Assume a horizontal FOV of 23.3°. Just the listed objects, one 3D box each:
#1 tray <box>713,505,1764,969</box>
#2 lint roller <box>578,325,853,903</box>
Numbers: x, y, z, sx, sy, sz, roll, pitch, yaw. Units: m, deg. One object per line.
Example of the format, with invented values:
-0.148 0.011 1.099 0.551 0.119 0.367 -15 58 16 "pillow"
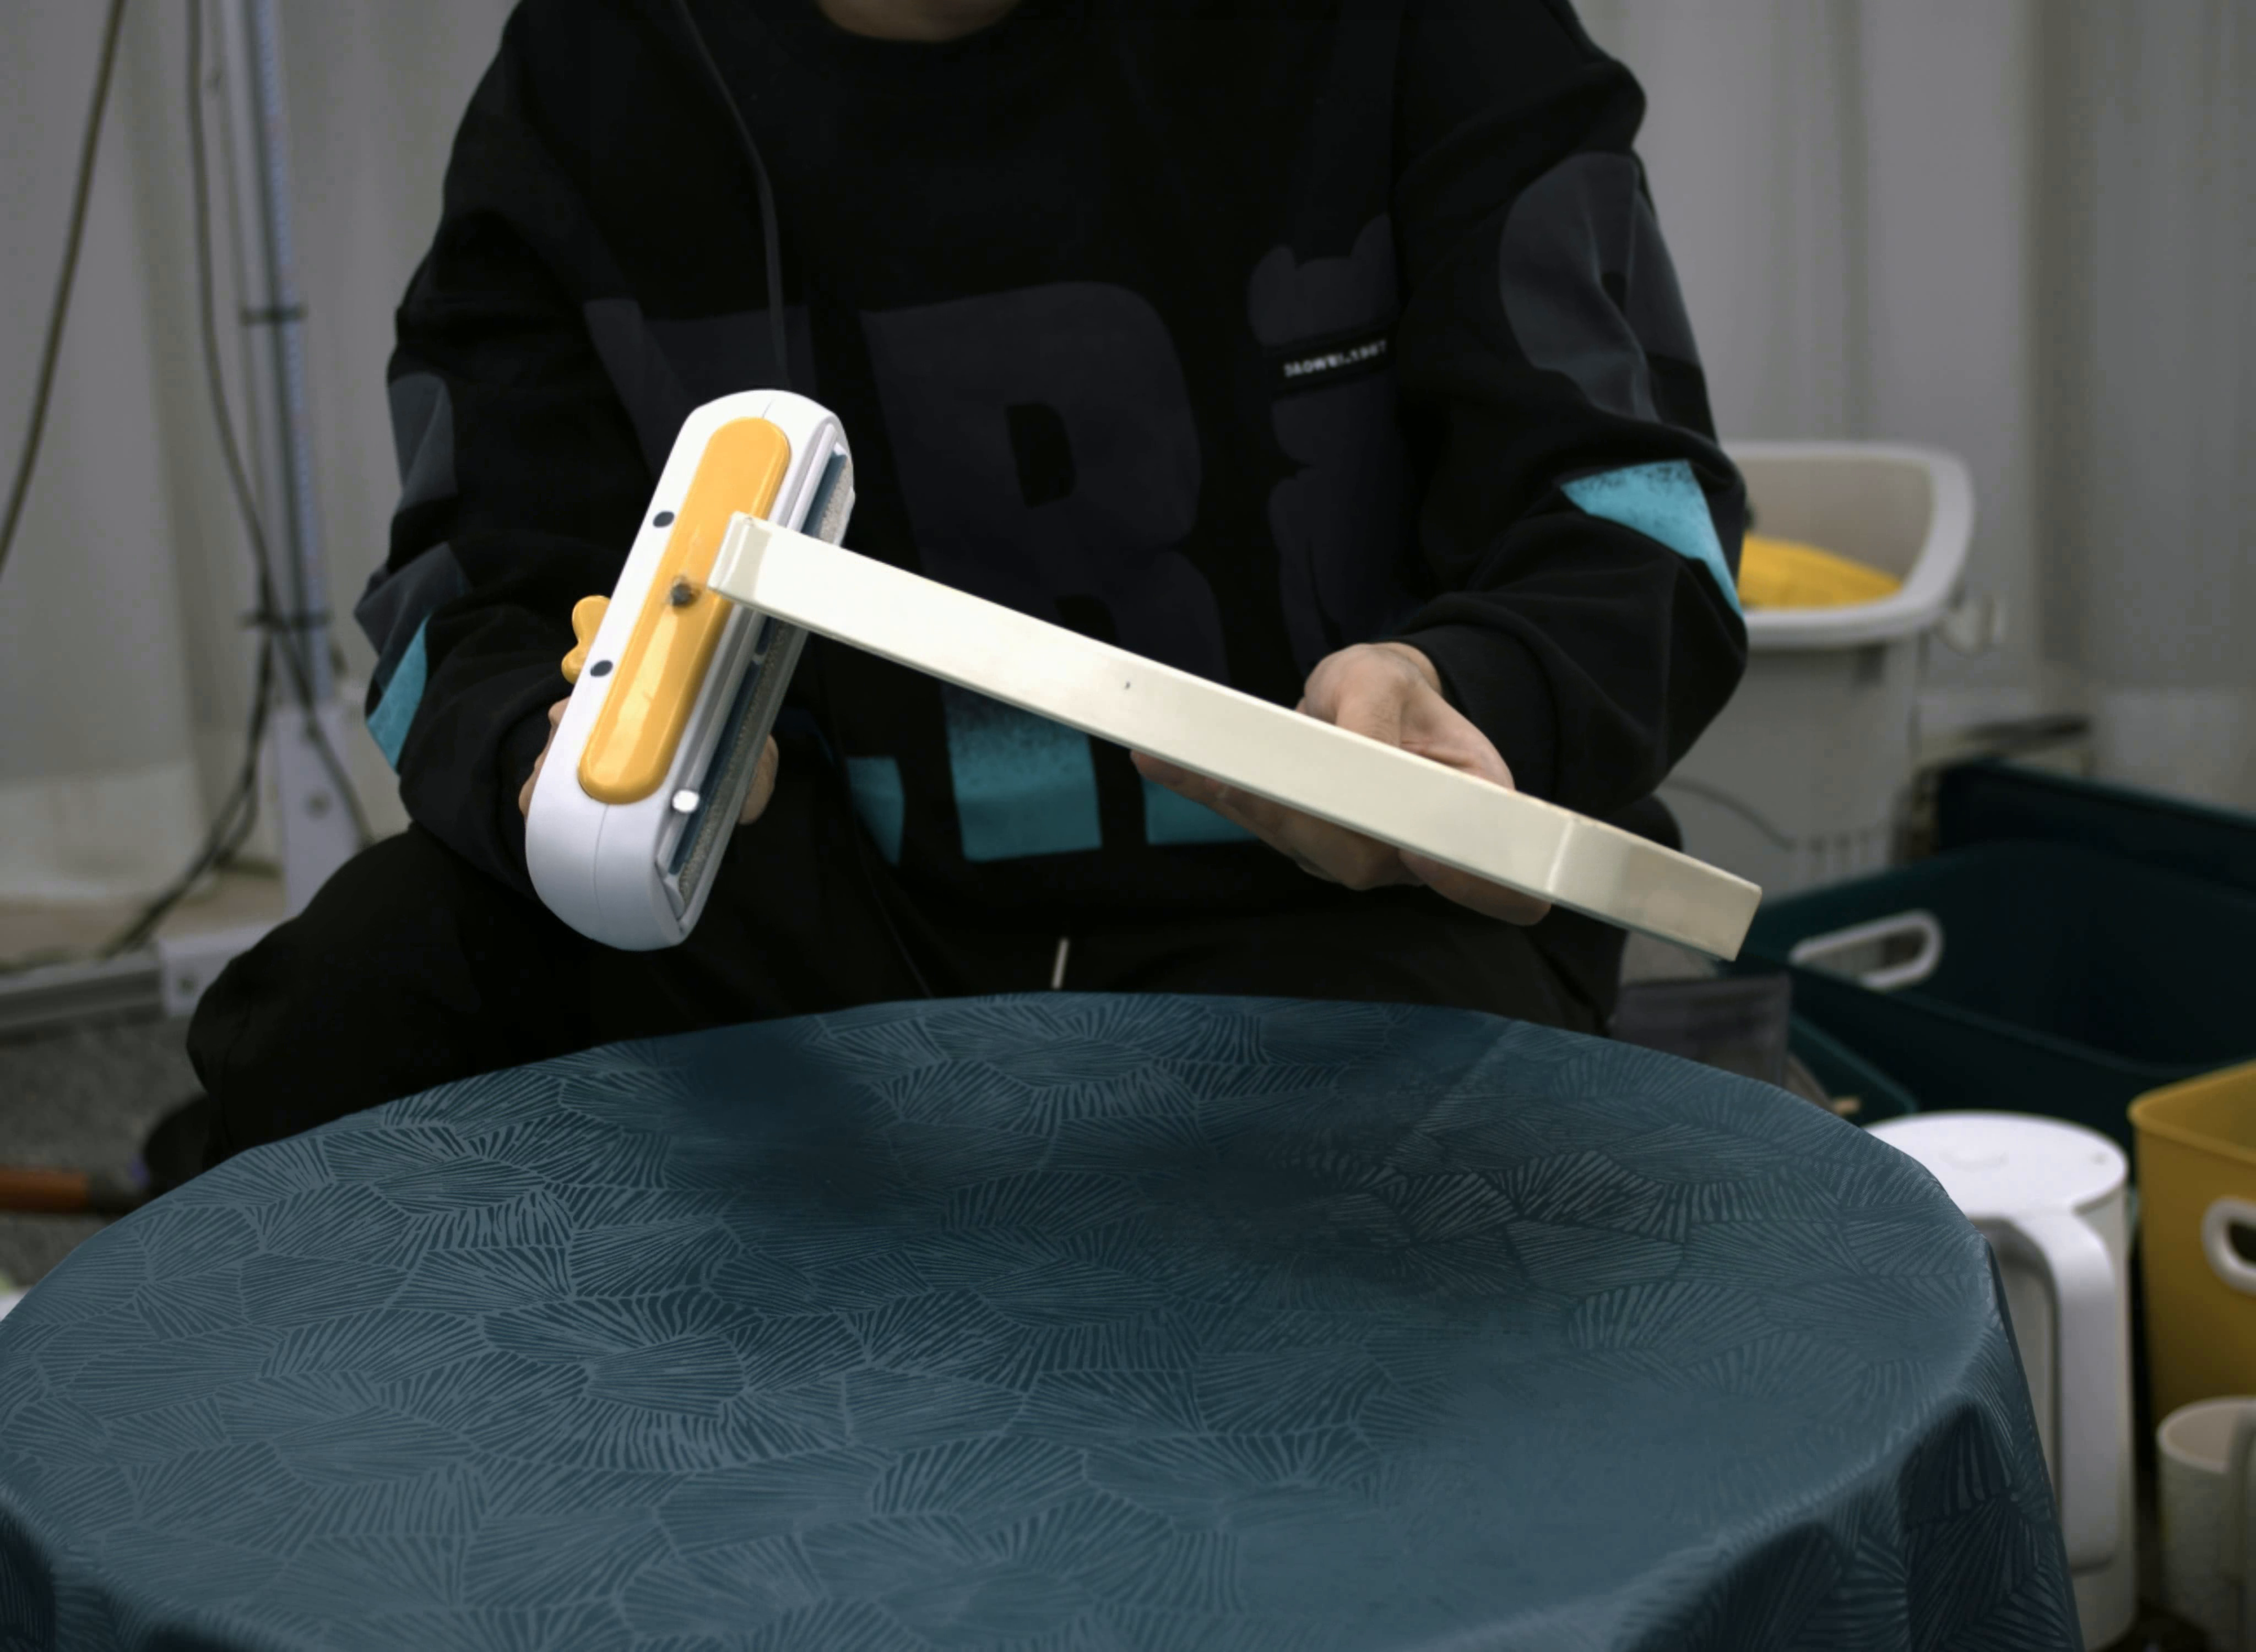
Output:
0.035 -0.025 1.664 0.301 0.027 0.190 21 0 22 "tray"
-0.132 -0.041 1.776 0.074 0.195 0.190 4 -28 5 "lint roller"
